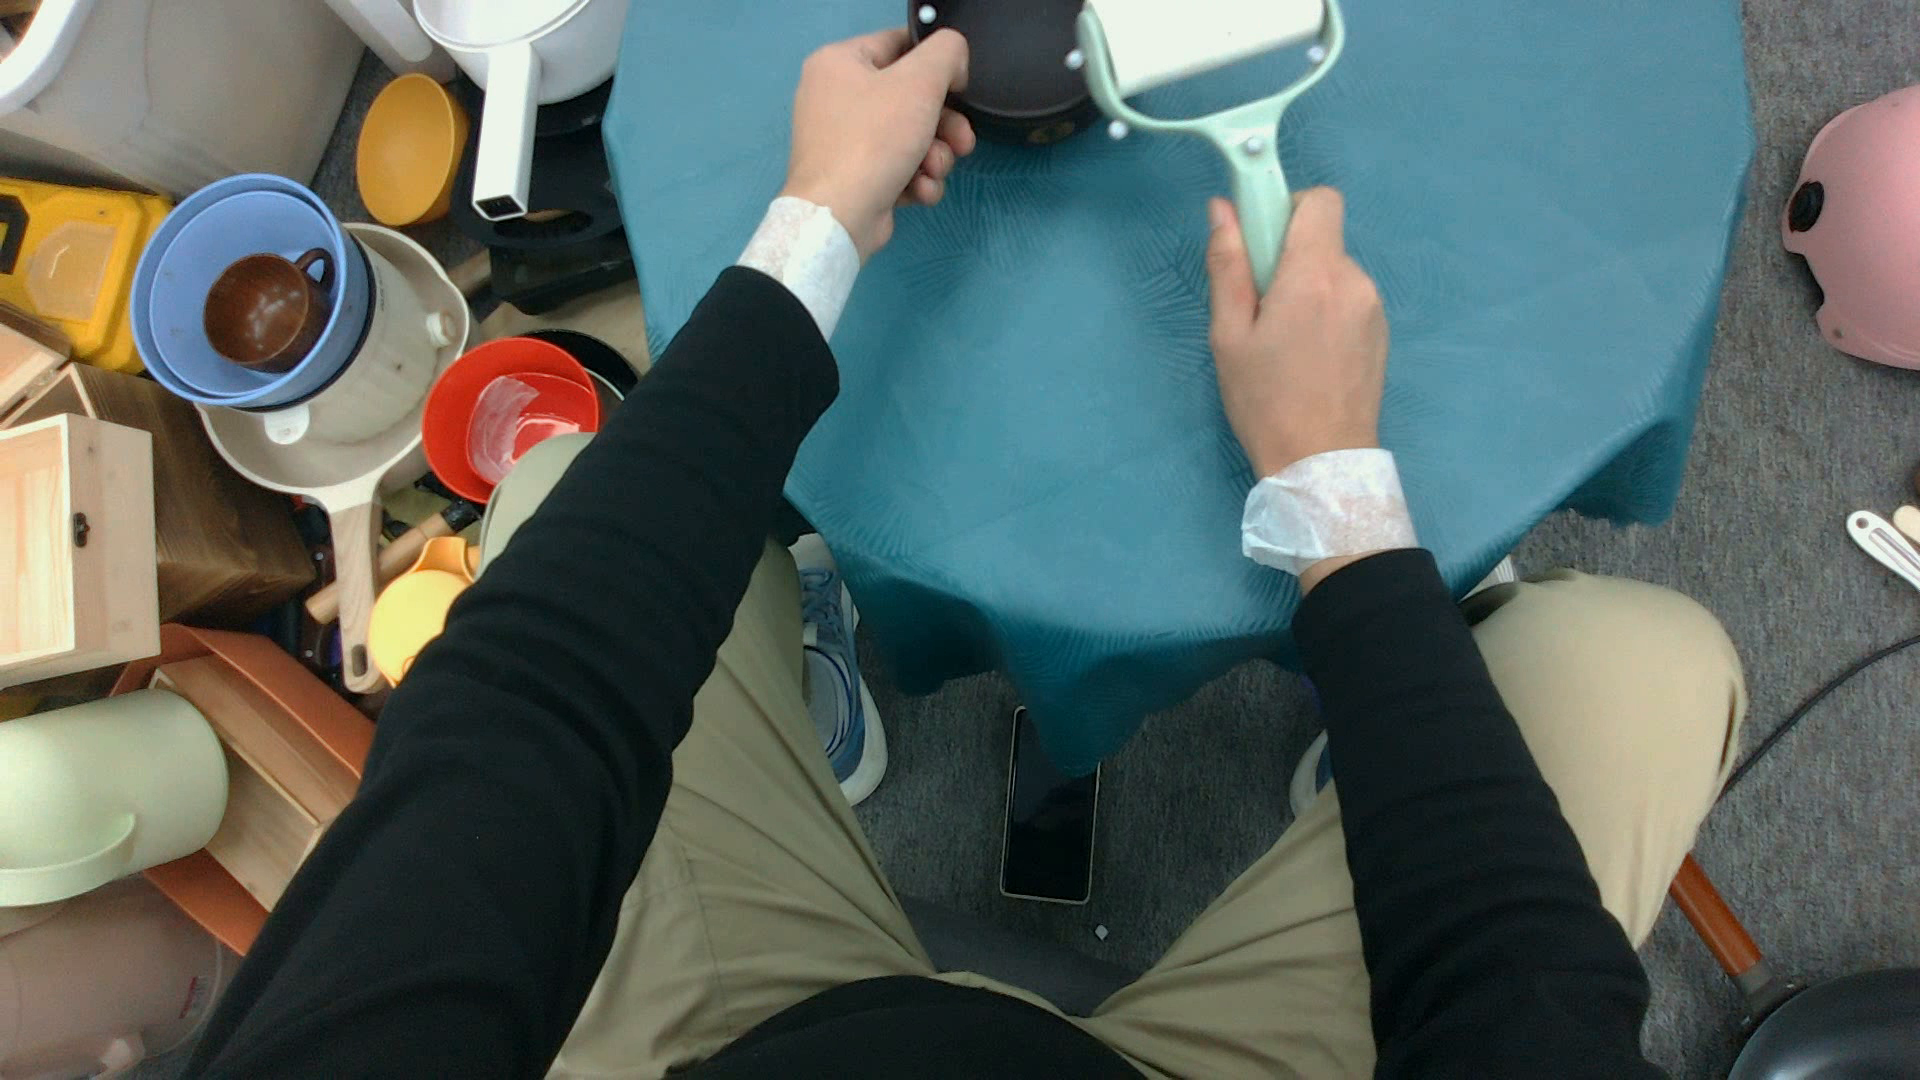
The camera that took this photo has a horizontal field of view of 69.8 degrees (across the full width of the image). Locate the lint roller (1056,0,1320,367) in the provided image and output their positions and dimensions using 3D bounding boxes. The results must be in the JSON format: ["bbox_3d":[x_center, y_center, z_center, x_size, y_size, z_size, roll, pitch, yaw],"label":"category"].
[{"bbox_3d":[0.124,-0.176,0.650,0.116,0.048,0.197,-17,95,-3],"label":"lint roller"}]

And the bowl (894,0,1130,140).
[{"bbox_3d":[0.027,-0.261,0.709,0.118,0.070,0.118,0,82,3],"label":"bowl"}]
